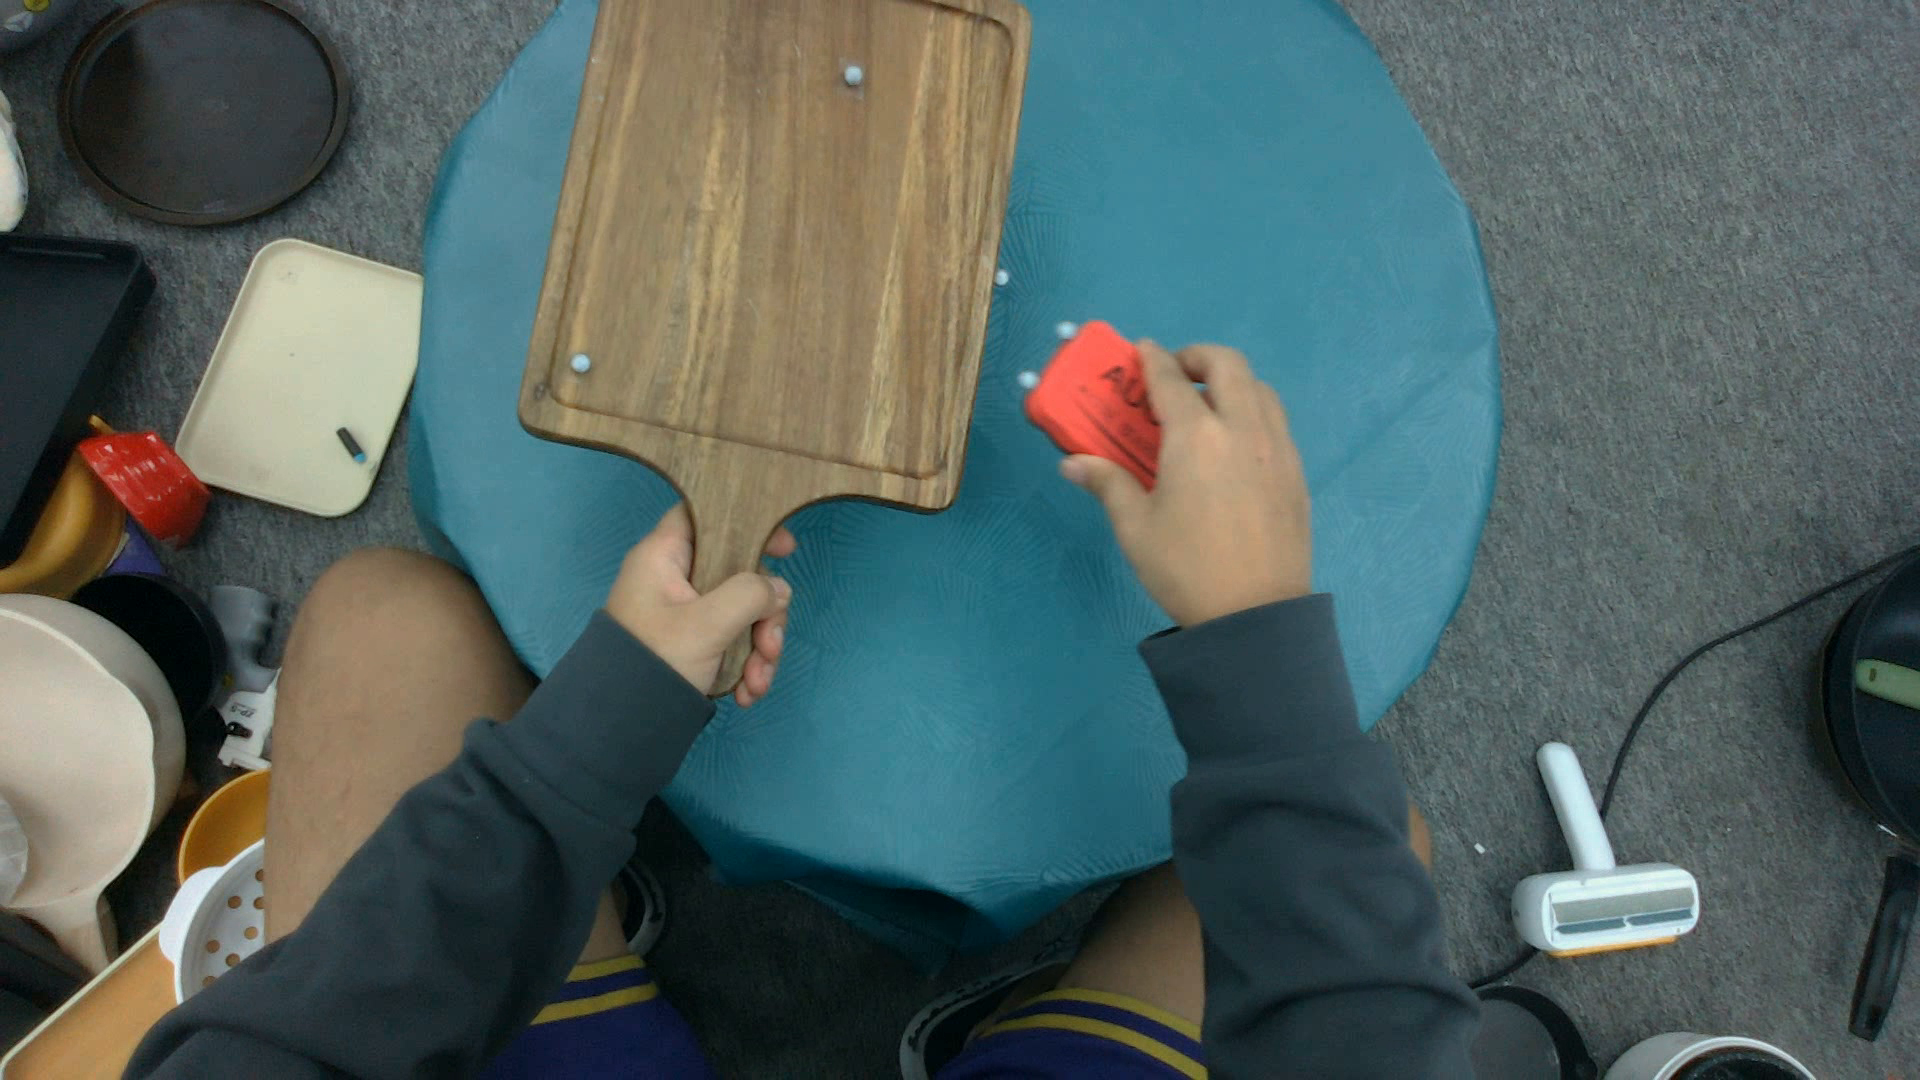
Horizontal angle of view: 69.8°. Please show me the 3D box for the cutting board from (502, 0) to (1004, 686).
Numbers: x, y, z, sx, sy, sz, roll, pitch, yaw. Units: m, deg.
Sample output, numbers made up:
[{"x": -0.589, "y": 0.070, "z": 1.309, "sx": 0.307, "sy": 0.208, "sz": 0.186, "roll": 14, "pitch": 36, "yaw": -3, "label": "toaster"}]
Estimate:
[{"x": -0.094, "y": -0.110, "z": 0.624, "sx": 0.201, "sy": 0.023, "sz": 0.352, "roll": 10, "pitch": 81, "yaw": -14, "label": "cutting board"}]

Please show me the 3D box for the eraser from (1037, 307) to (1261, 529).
[{"x": 0.092, "y": -0.058, "z": 0.662, "sx": 0.108, "sy": 0.023, "sz": 0.059, "roll": 40, "pitch": 68, "yaw": -13, "label": "eraser"}]
